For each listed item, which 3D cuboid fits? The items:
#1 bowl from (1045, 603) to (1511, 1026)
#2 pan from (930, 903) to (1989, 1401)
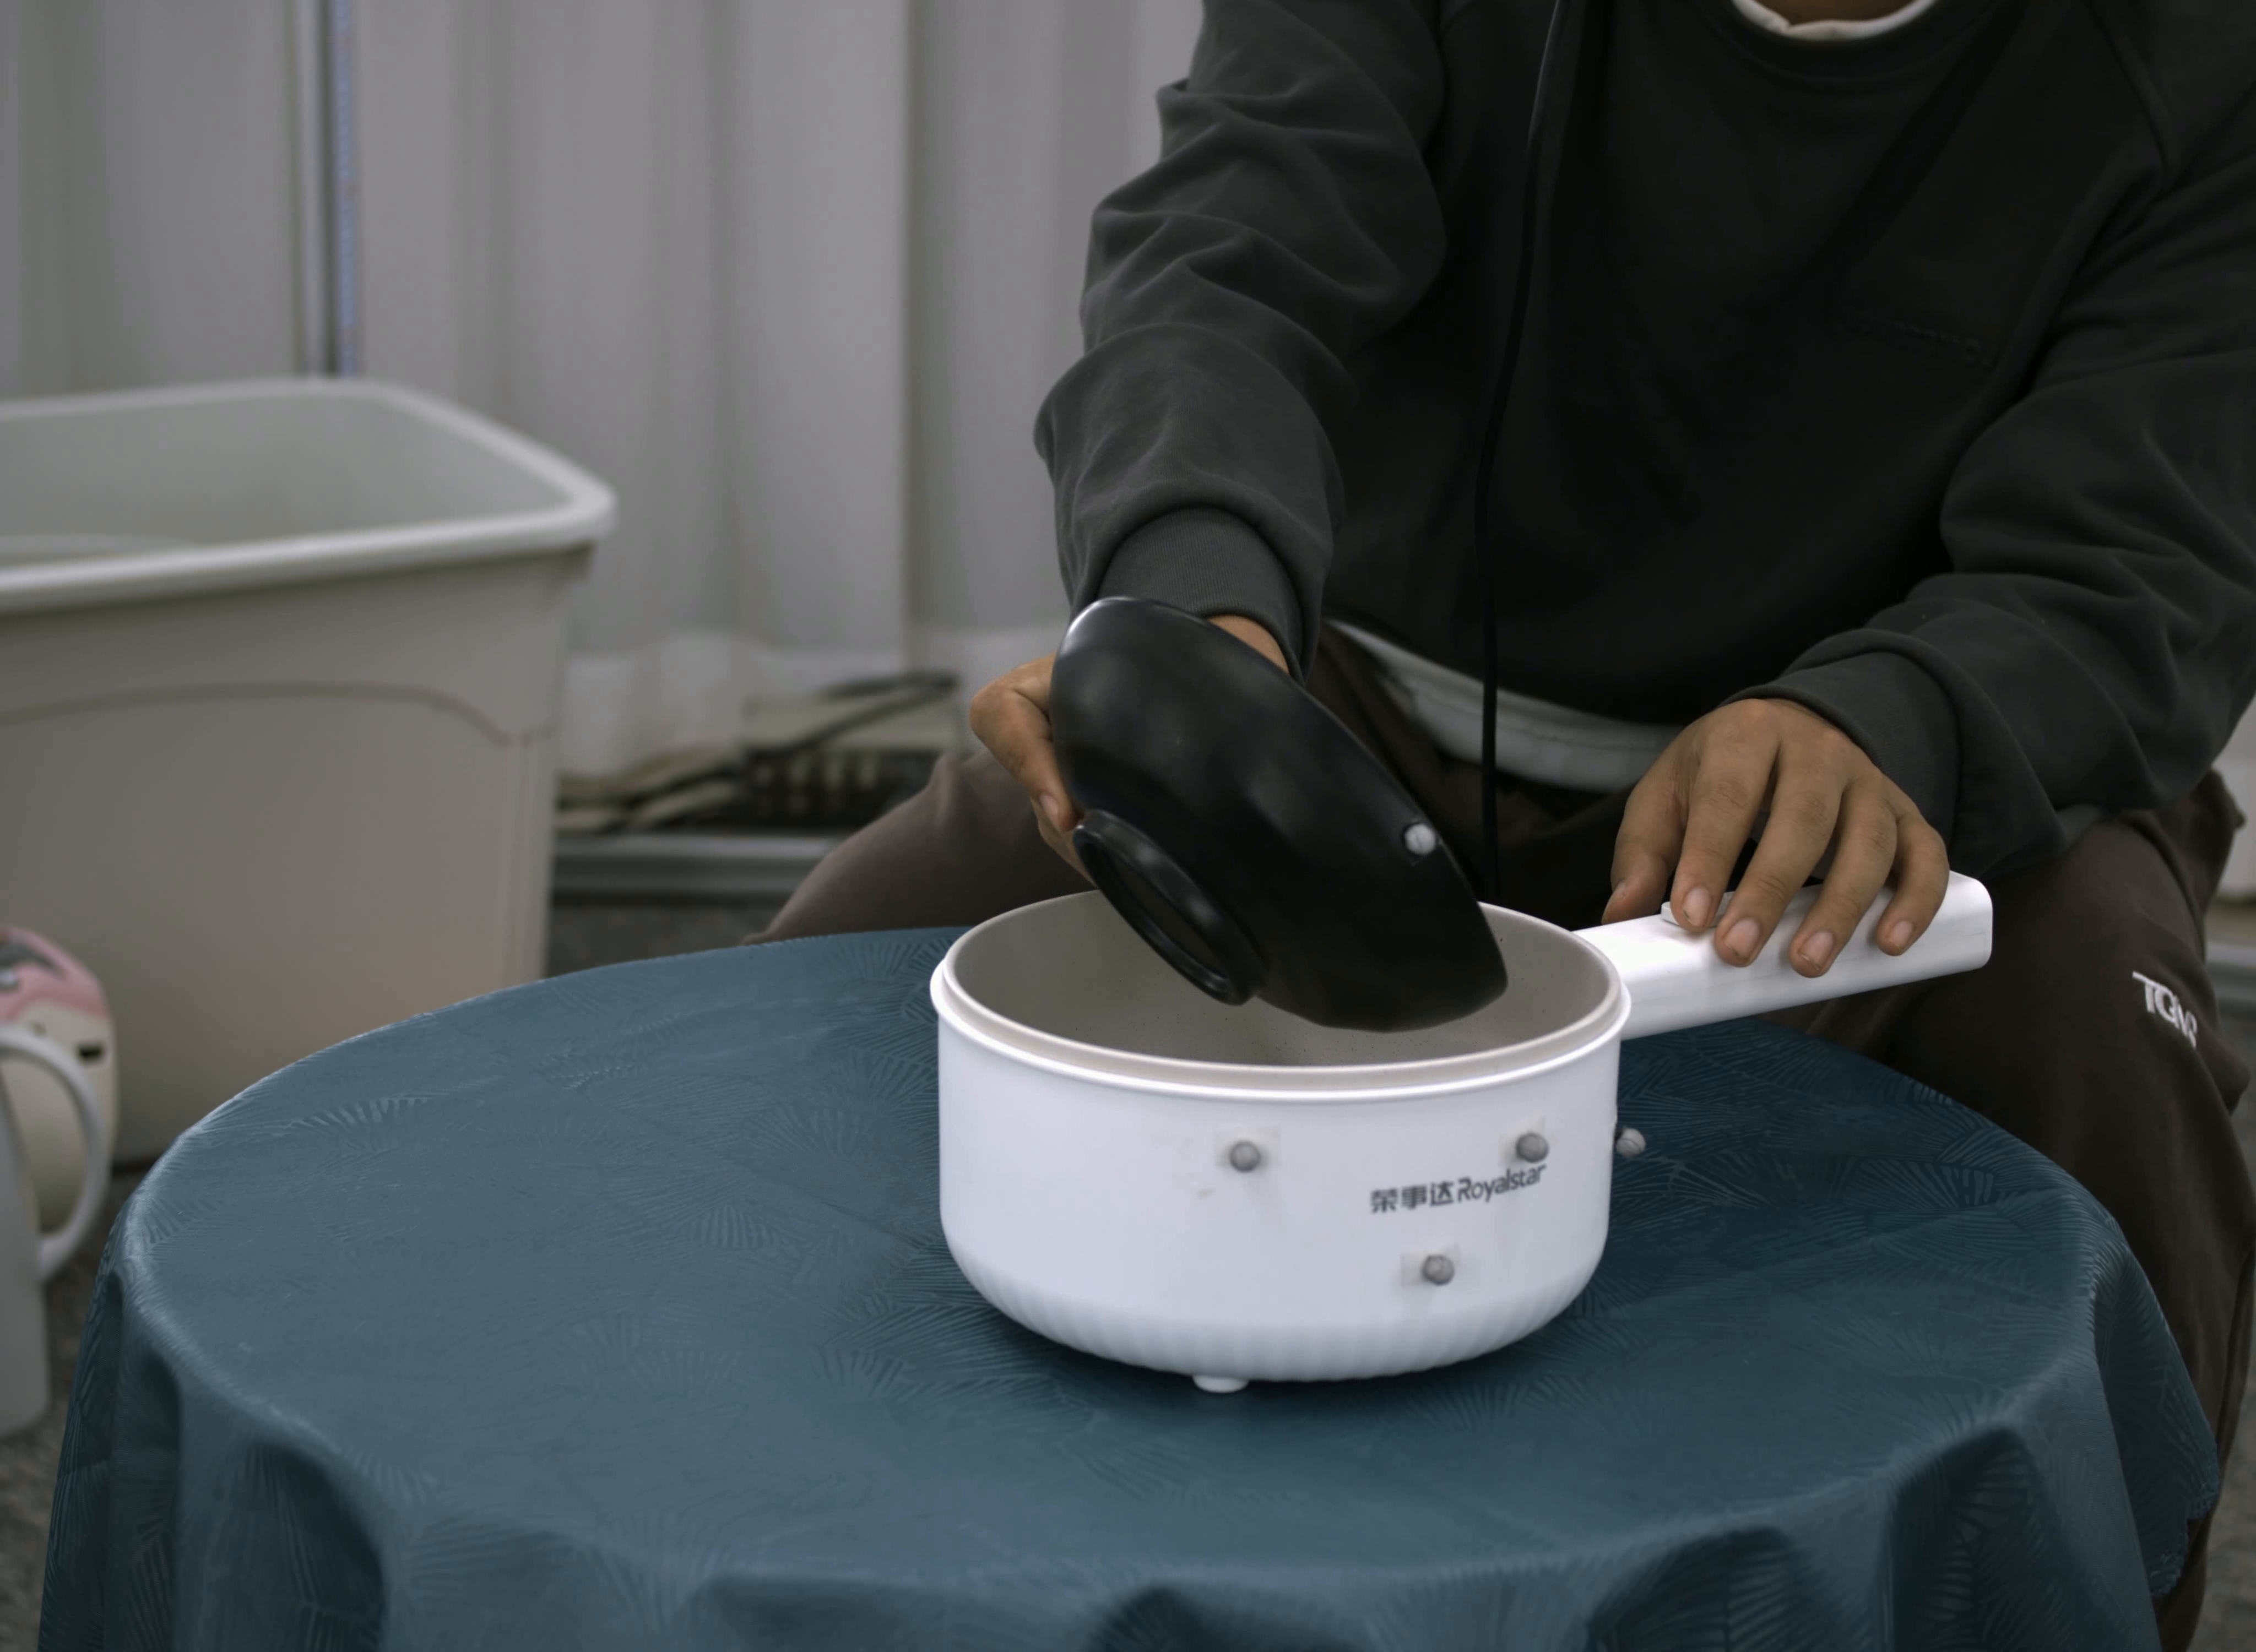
[{"bbox_3d":[0.031,0.006,1.515,0.168,0.138,0.066,40,77,20],"label":"bowl"},{"bbox_3d":[0.107,0.088,1.564,0.357,0.103,0.198,-6,13,-33],"label":"pan"}]
